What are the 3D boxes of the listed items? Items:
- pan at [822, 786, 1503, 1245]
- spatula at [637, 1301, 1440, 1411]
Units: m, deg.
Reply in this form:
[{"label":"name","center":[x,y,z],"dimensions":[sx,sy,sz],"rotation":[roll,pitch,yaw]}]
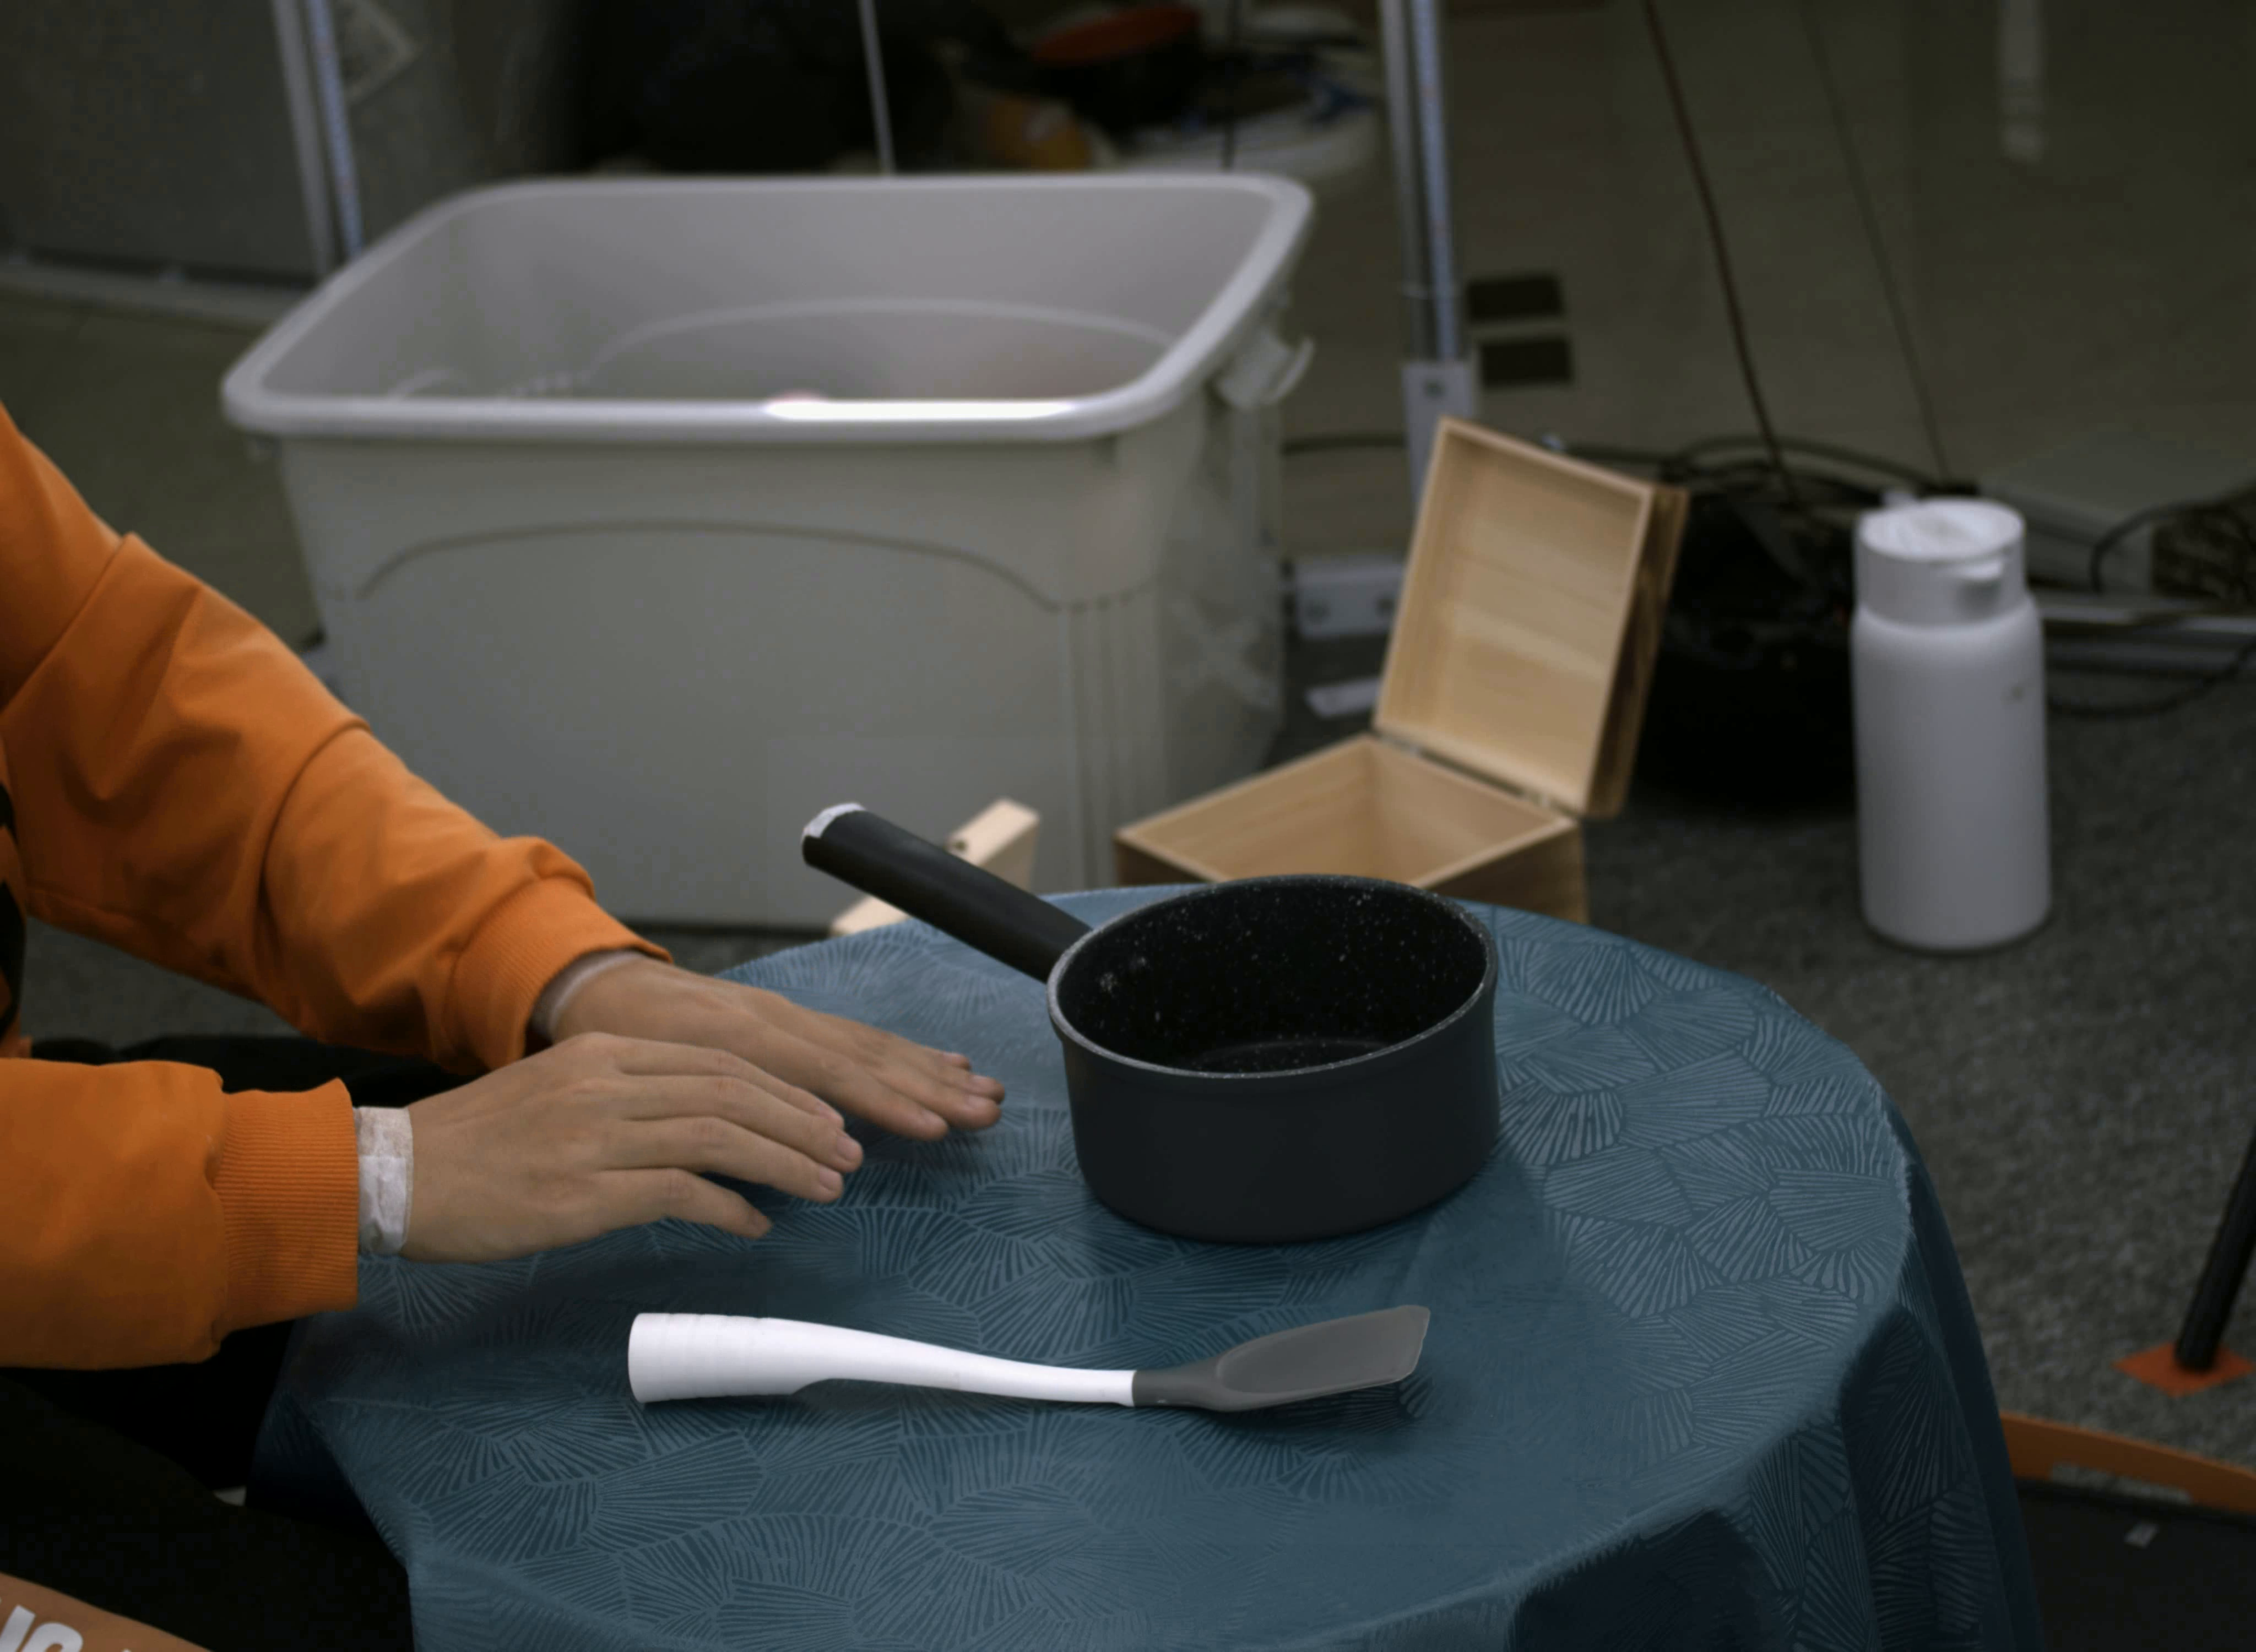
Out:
[{"label":"pan","center":[0.002,0.067,2.200],"dimensions":[0.326,0.088,0.170],"rotation":[20,35,41]},{"label":"spatula","center":[-0.032,0.190,2.008],"dimensions":[0.287,0.032,0.058],"rotation":[-1,21,12]}]
